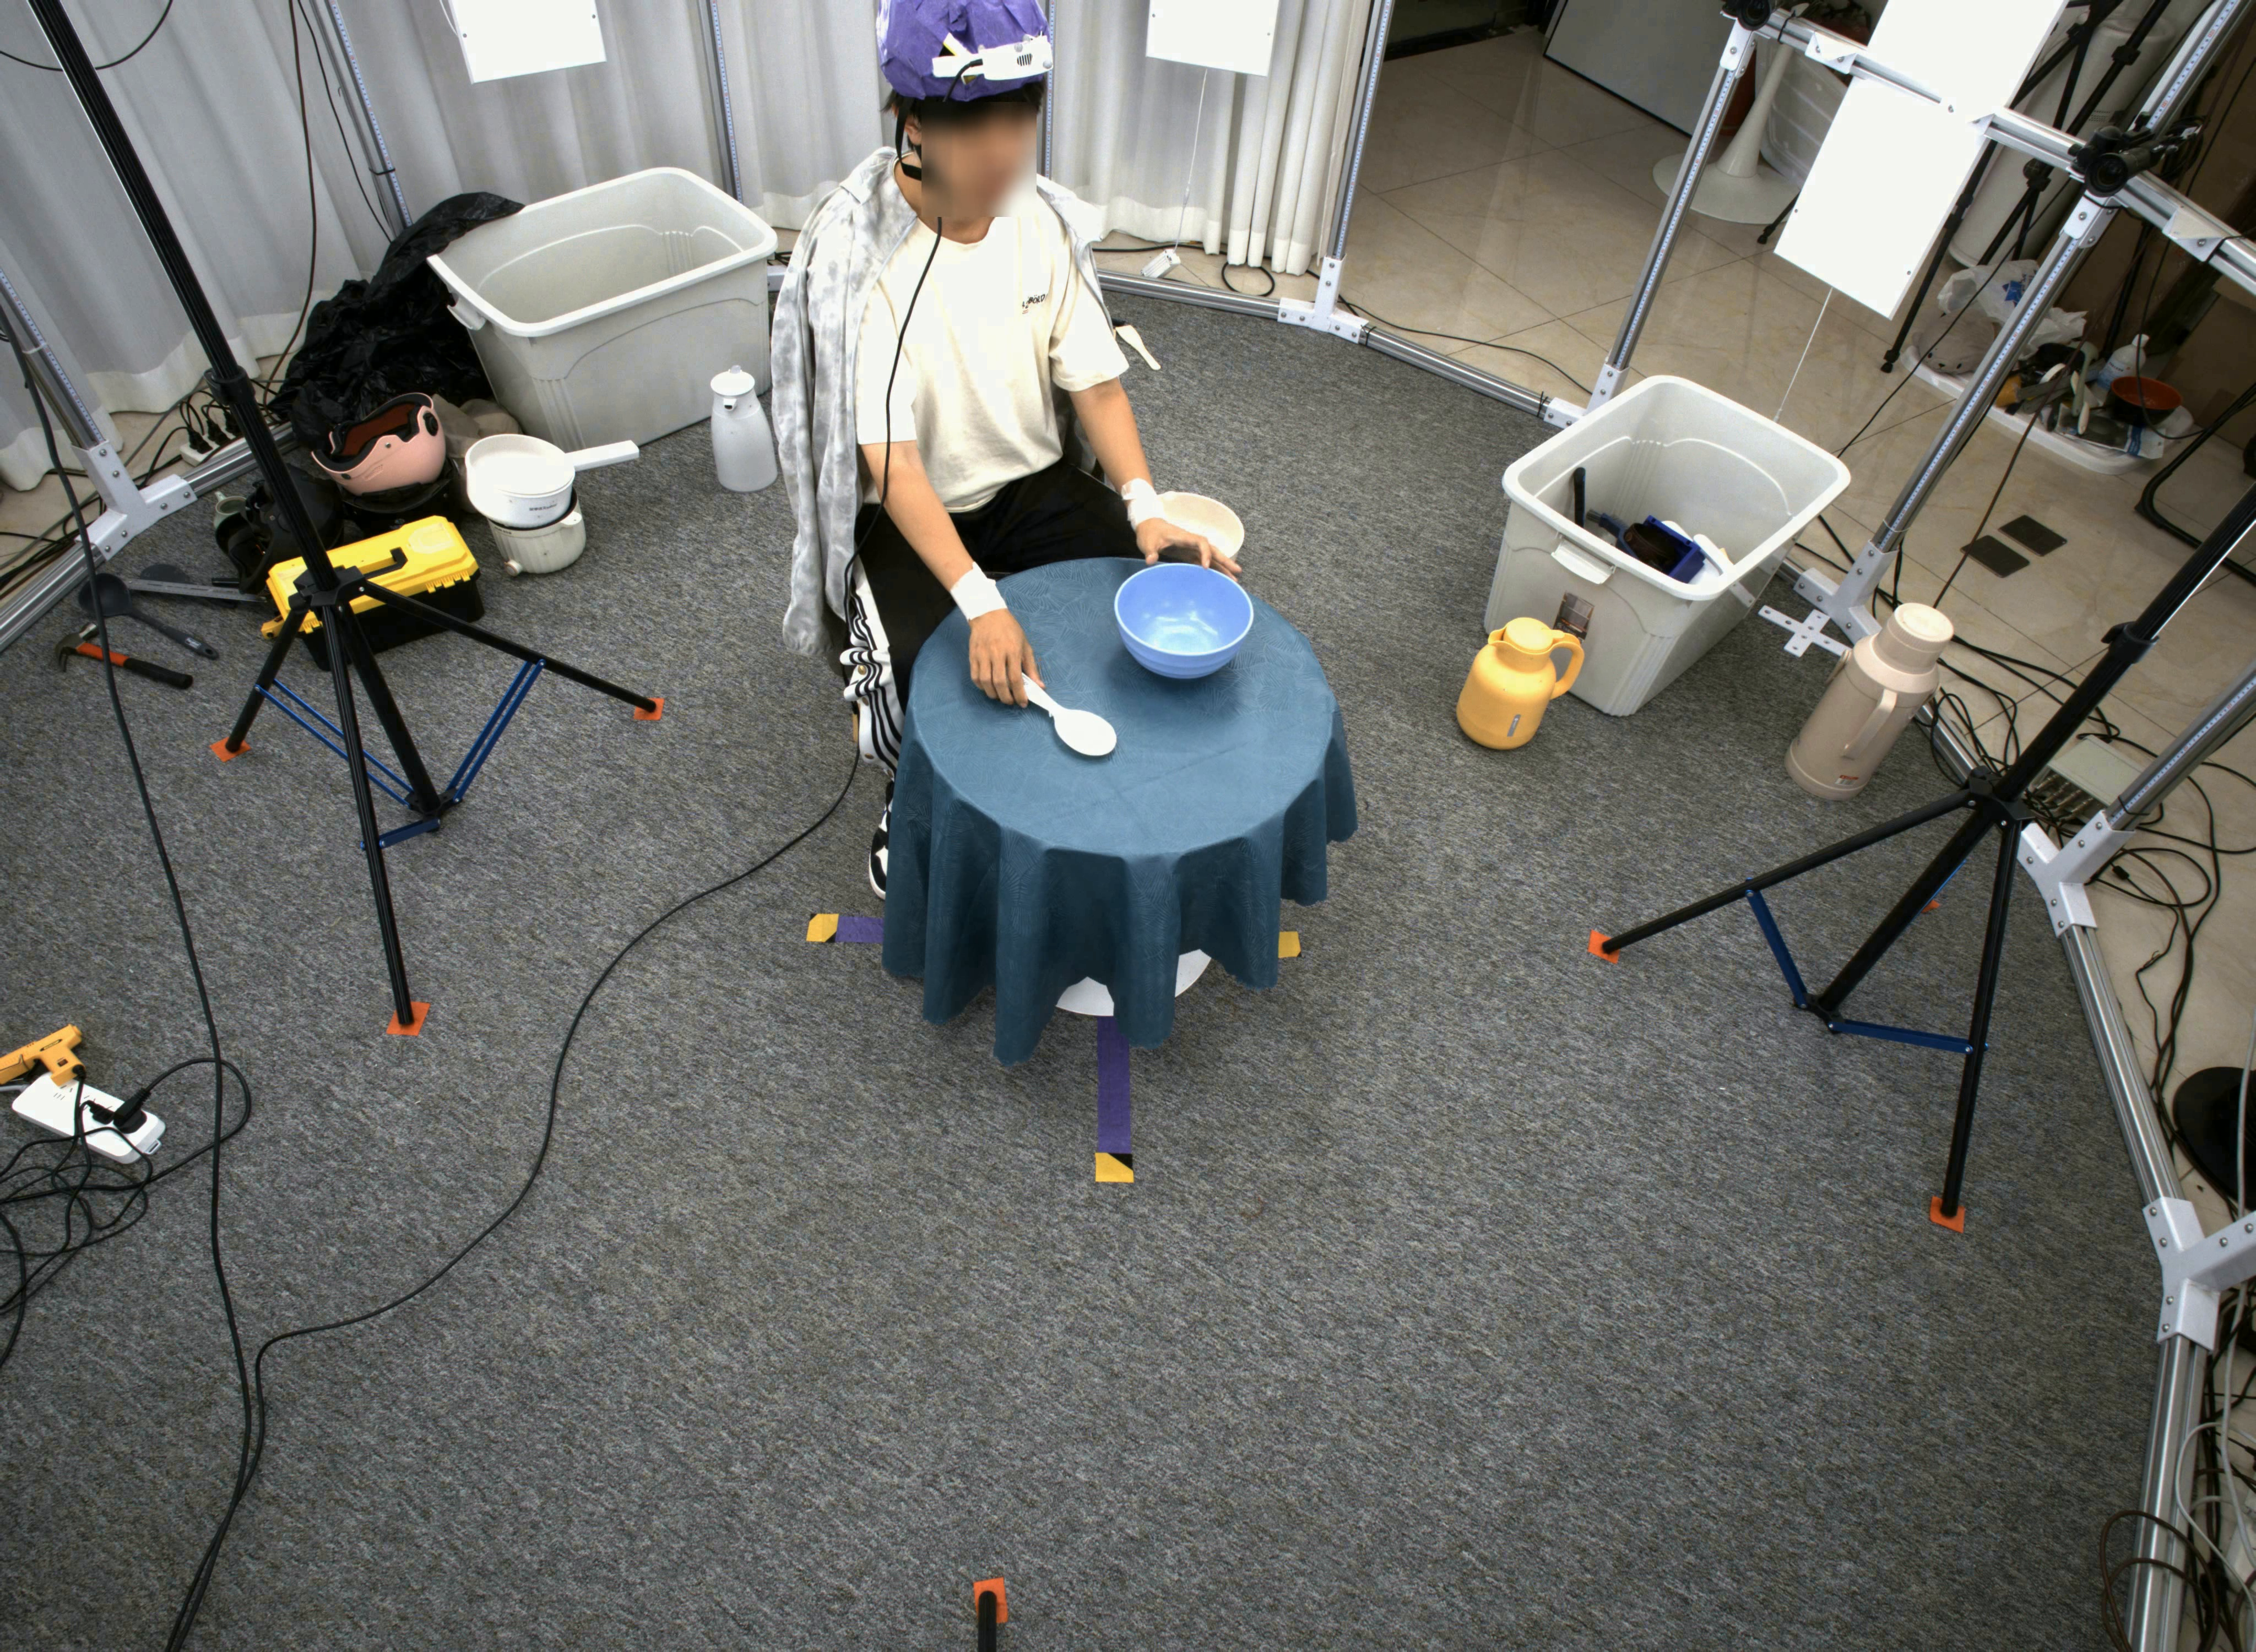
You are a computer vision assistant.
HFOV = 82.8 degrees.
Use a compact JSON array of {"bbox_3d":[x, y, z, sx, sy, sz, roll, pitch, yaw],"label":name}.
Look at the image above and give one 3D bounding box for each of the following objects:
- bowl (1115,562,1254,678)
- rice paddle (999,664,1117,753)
[{"bbox_3d":[0.077,-0.281,1.848,0.196,0.093,0.201,2,50,-3],"label":"bowl"},{"bbox_3d":[-0.097,-0.162,1.775,0.208,0.029,0.069,37,57,25],"label":"rice paddle"}]
